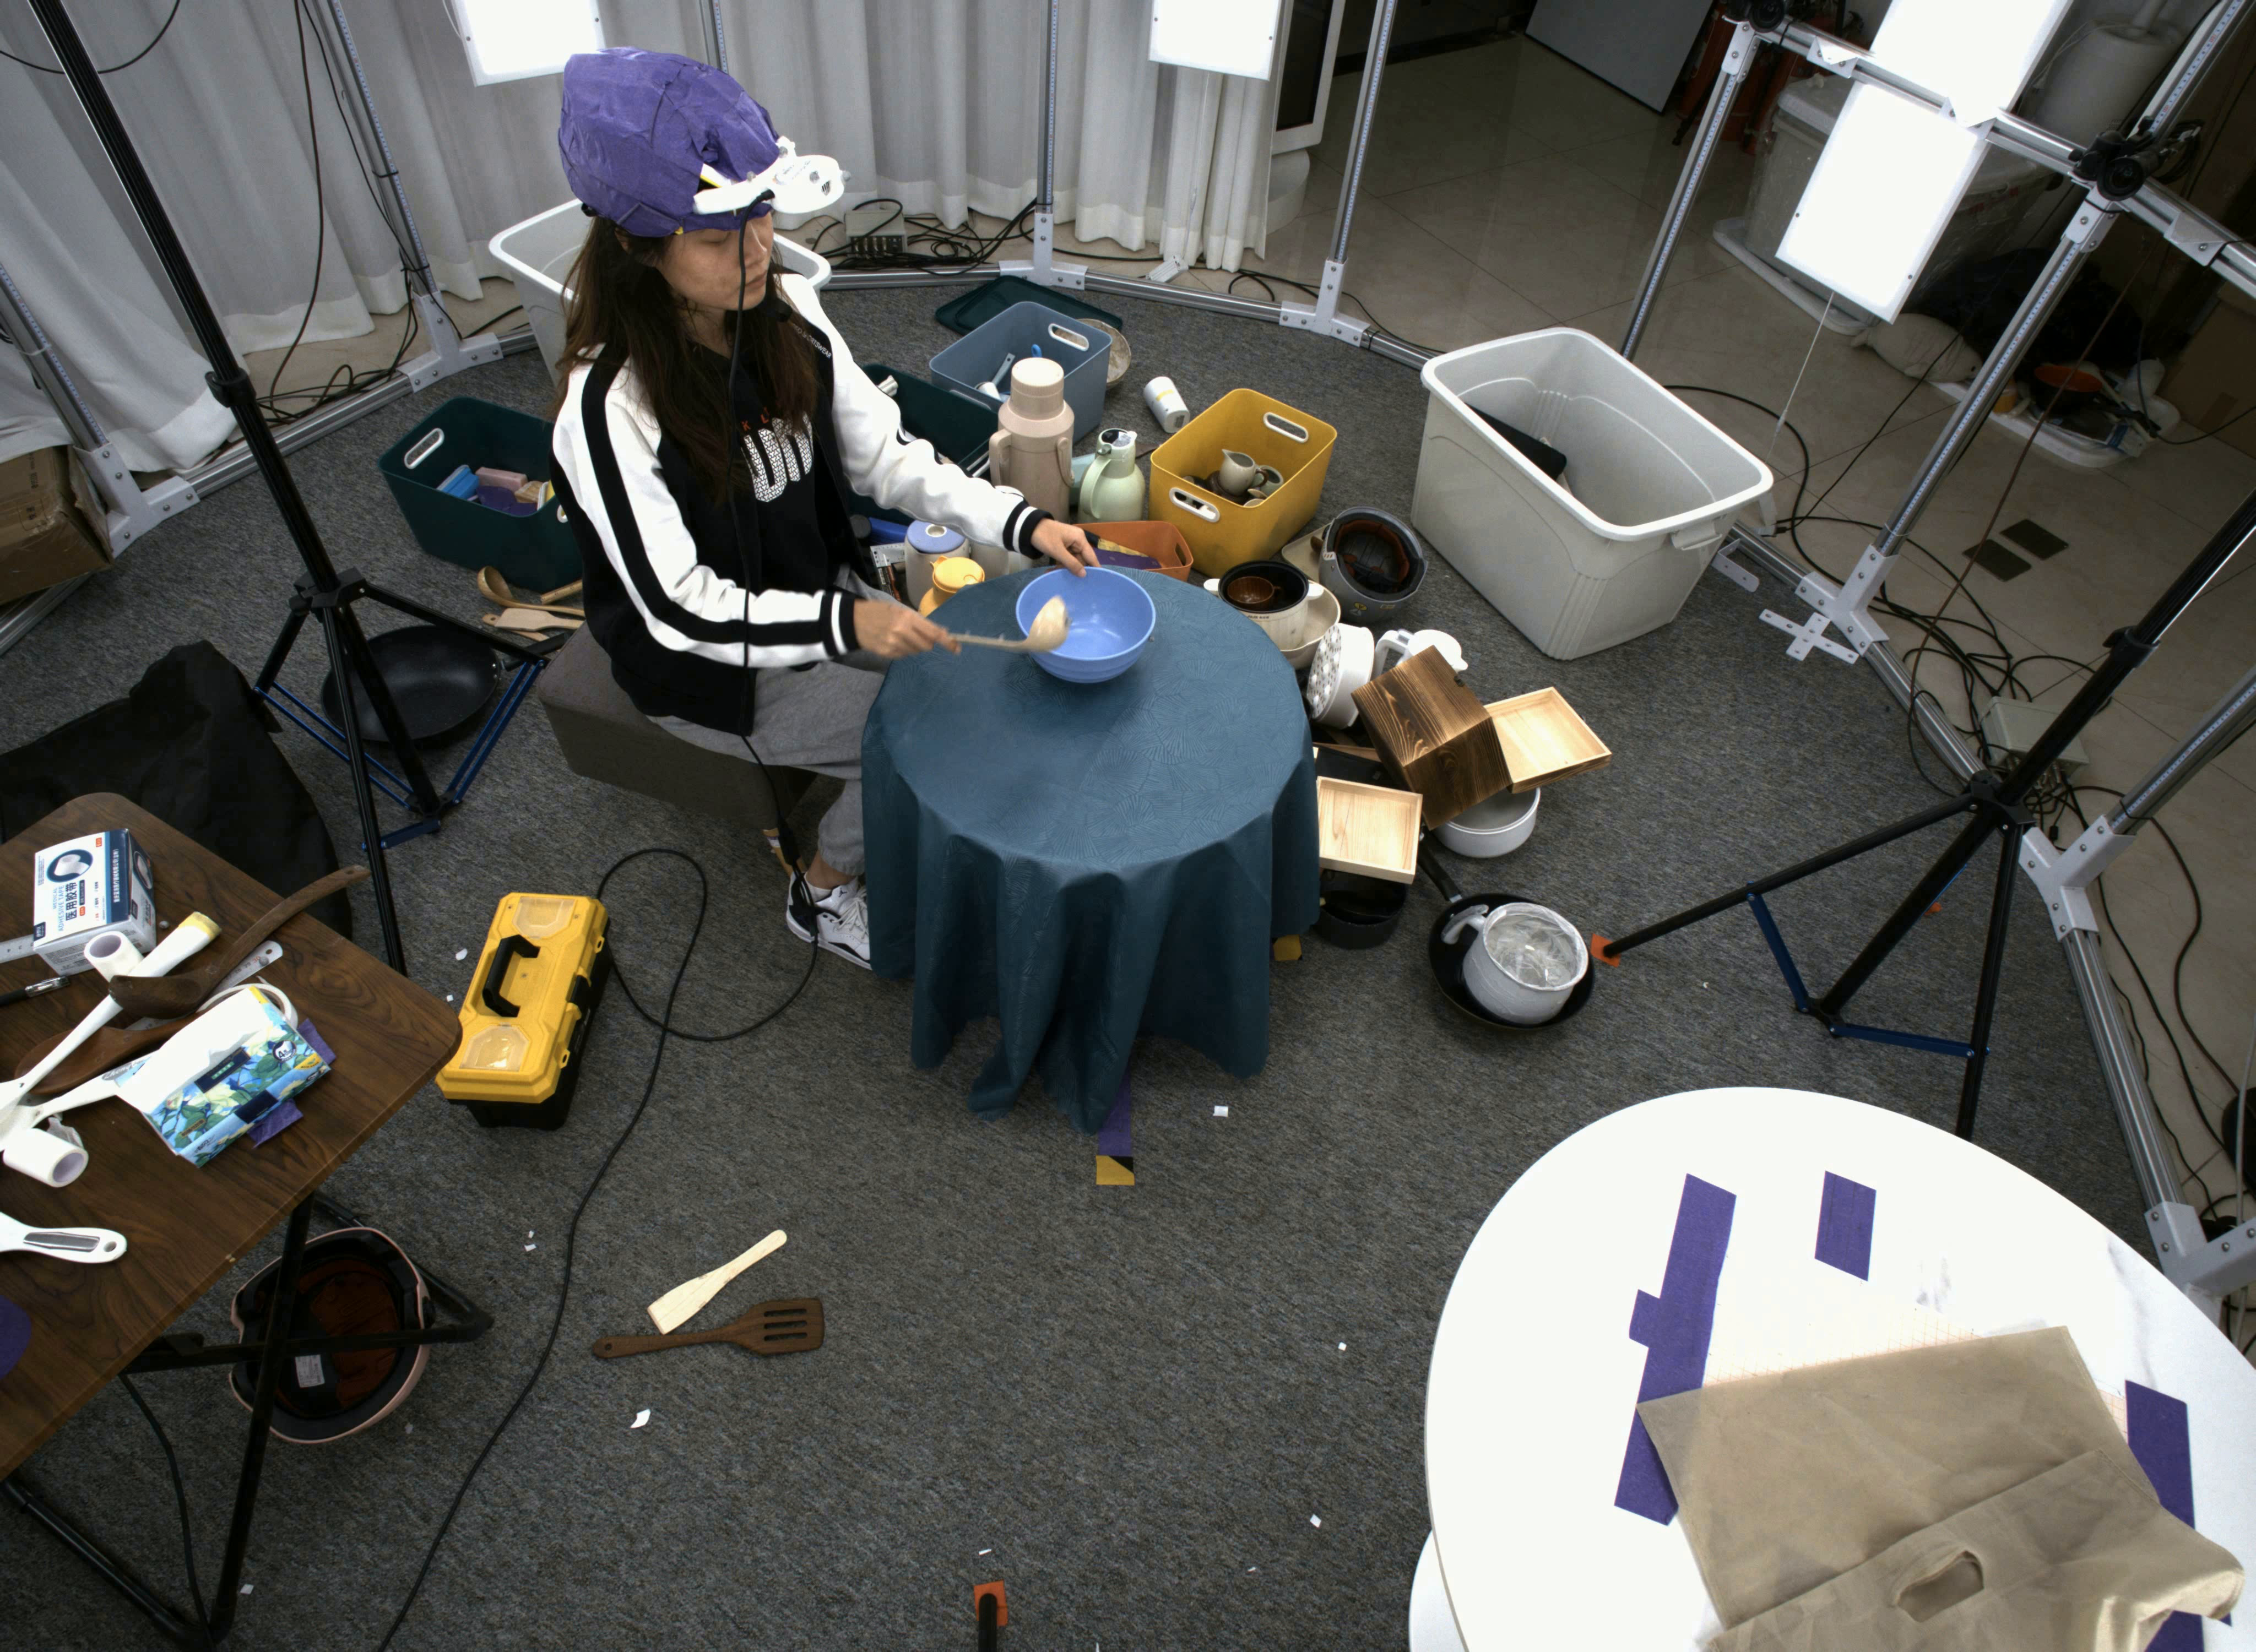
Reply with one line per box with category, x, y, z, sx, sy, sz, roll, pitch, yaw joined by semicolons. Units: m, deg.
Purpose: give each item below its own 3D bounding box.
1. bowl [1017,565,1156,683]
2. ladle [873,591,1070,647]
bowl;-0.062;-0.273;1.841;0.196;0.093;0.201;3;49;-4
ladle;-0.201;-0.273;1.660;0.255;0.071;0.073;5;82;8
